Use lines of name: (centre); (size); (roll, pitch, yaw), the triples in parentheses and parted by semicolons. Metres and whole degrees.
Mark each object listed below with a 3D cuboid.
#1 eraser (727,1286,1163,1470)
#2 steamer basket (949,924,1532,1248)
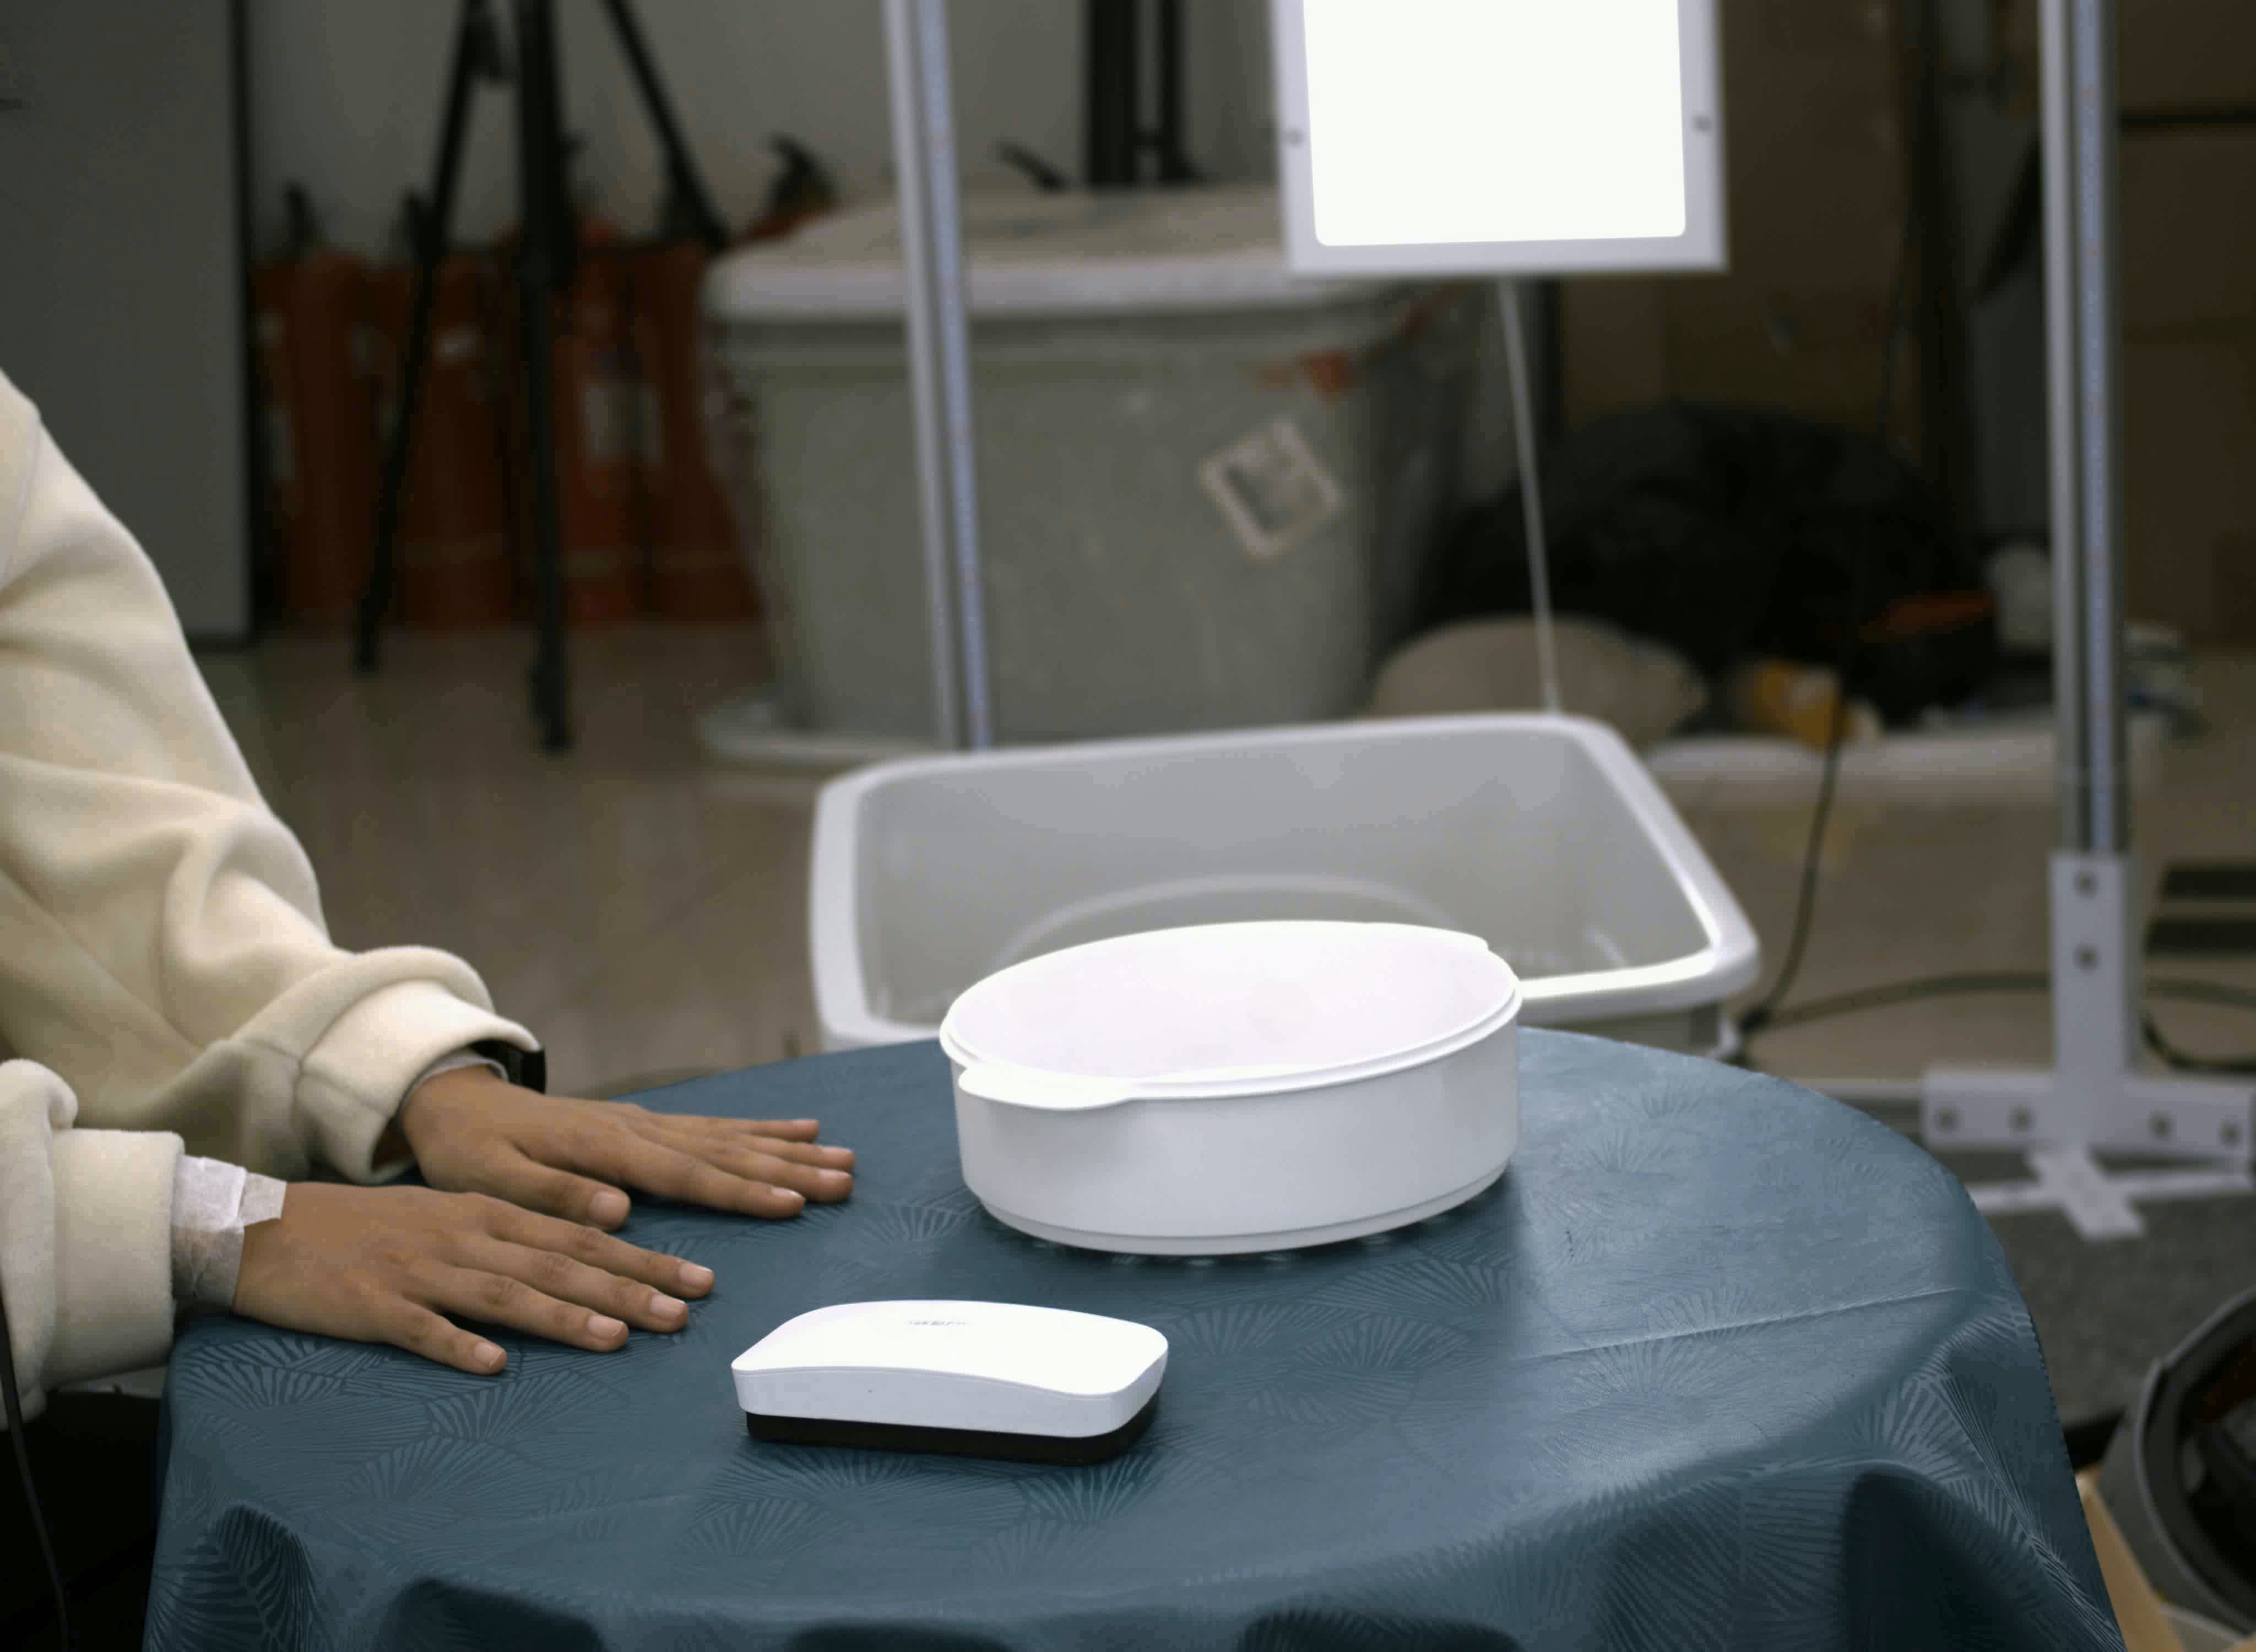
eraser: (-0.055, 0.168, 1.684); (0.133, 0.034, 0.062); (2, 16, 26)
steamer basket: (0.041, 0.090, 1.893); (0.206, 0.069, 0.225); (7, 17, 42)
